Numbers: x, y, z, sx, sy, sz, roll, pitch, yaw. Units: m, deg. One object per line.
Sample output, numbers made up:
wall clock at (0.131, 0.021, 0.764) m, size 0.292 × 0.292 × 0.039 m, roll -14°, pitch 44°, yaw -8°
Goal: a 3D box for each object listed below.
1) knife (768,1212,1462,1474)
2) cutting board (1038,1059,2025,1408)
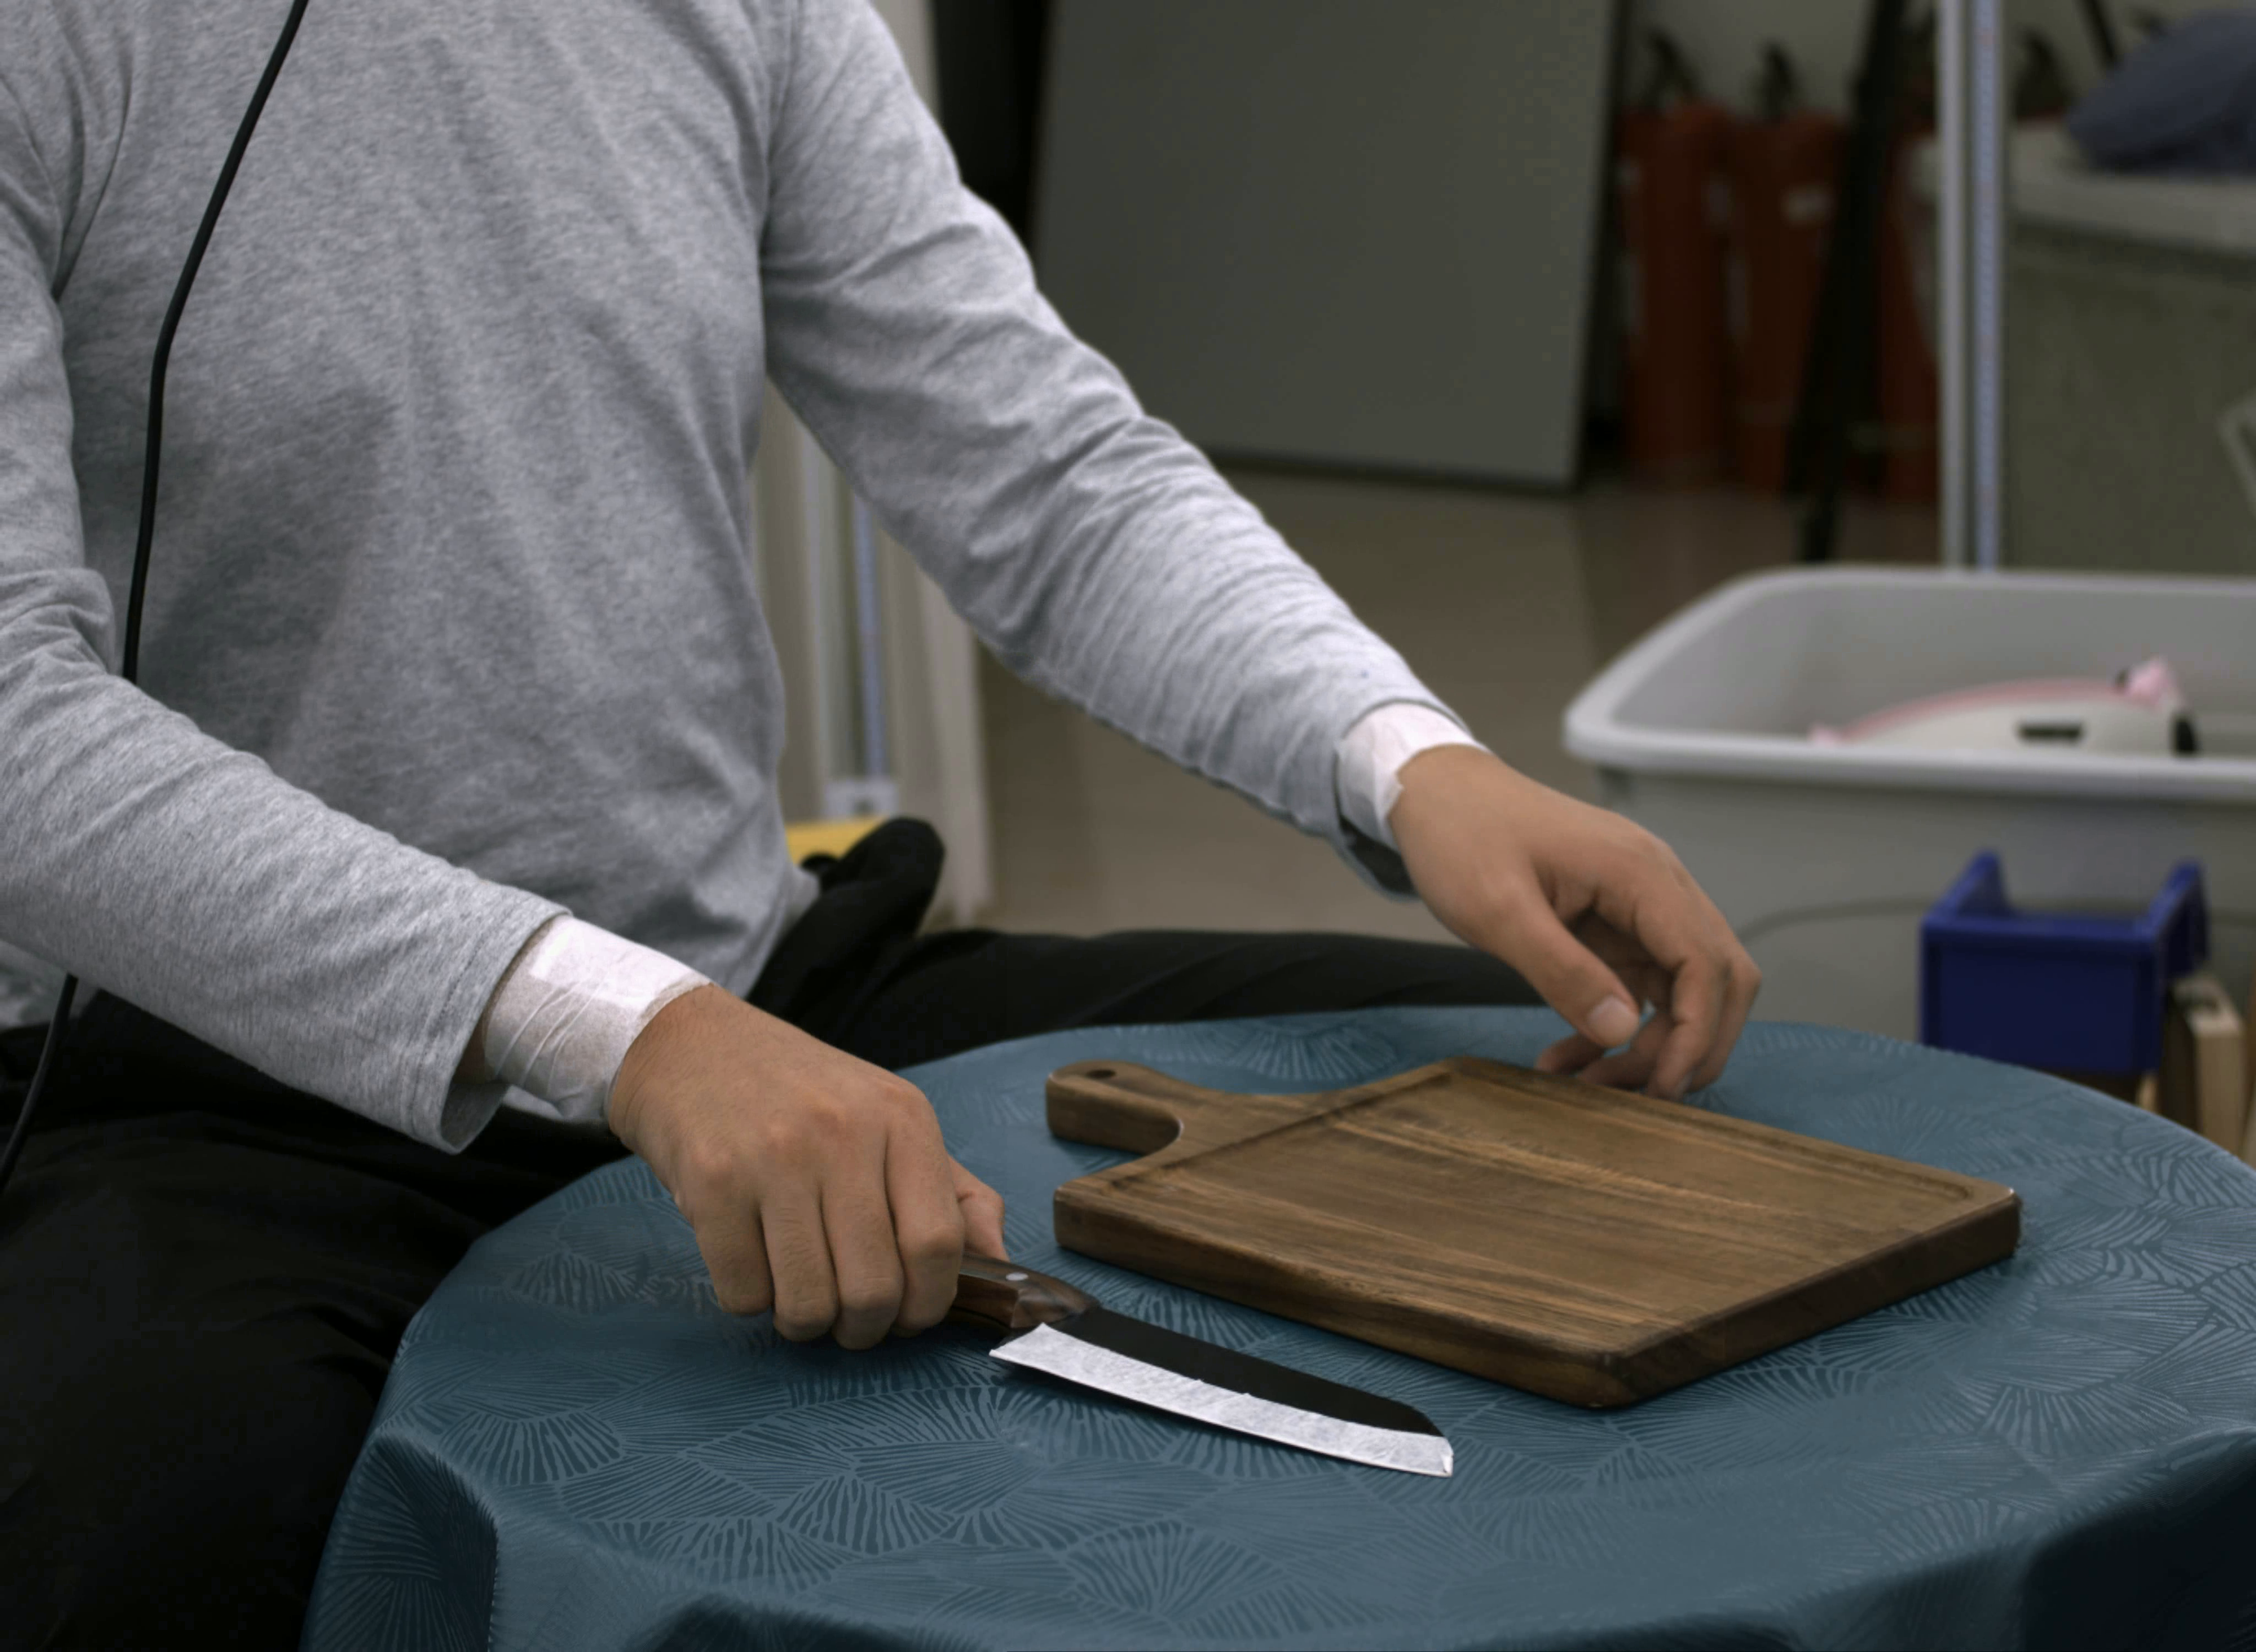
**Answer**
knife at (-0.008, 0.155, 1.604) m, size 0.049 × 0.020 × 0.292 m, roll -21°, pitch 24°, yaw -40°
cutting board at (0.094, 0.116, 1.724) m, size 0.197 × 0.023 × 0.356 m, roll -15°, pitch 17°, yaw -39°
